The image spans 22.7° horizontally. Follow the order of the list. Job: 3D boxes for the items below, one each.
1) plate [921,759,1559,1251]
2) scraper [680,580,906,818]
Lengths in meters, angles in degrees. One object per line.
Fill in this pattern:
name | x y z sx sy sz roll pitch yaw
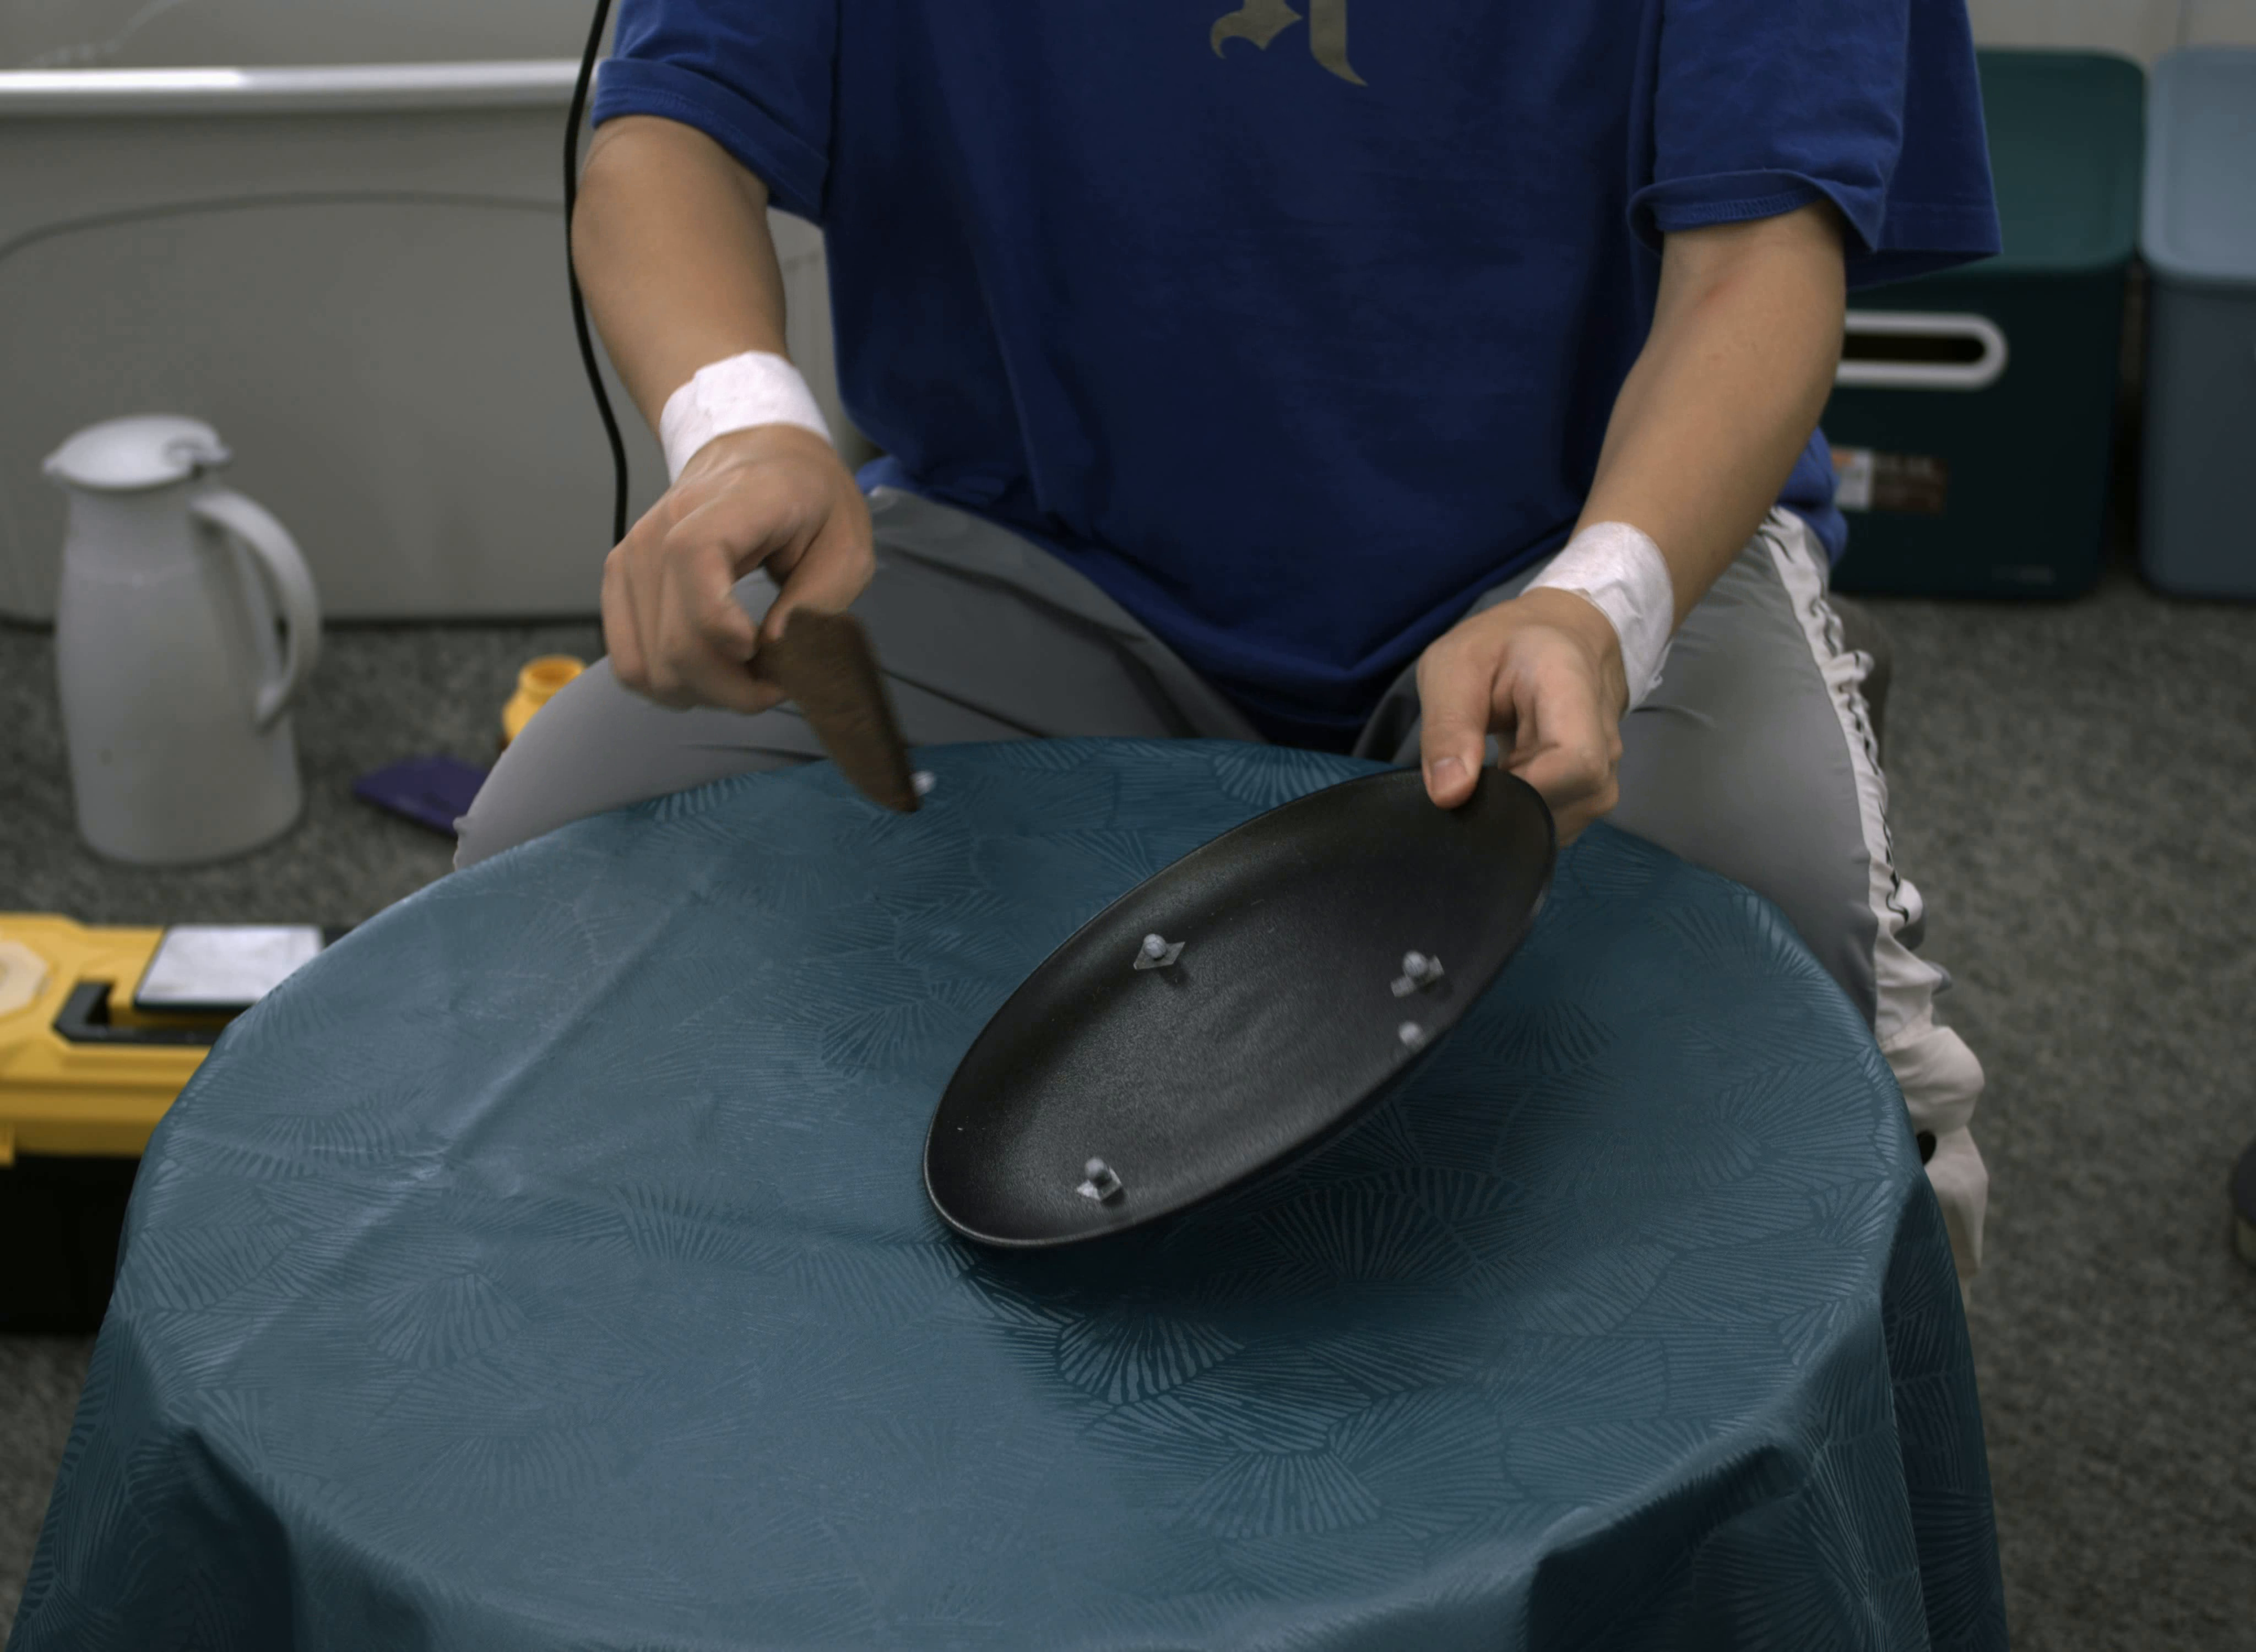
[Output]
plate | 0.040 0.063 1.859 0.242 0.023 0.248 -27 24 13
scraper | -0.120 -0.054 1.908 0.011 0.075 0.211 -24 19 -14
